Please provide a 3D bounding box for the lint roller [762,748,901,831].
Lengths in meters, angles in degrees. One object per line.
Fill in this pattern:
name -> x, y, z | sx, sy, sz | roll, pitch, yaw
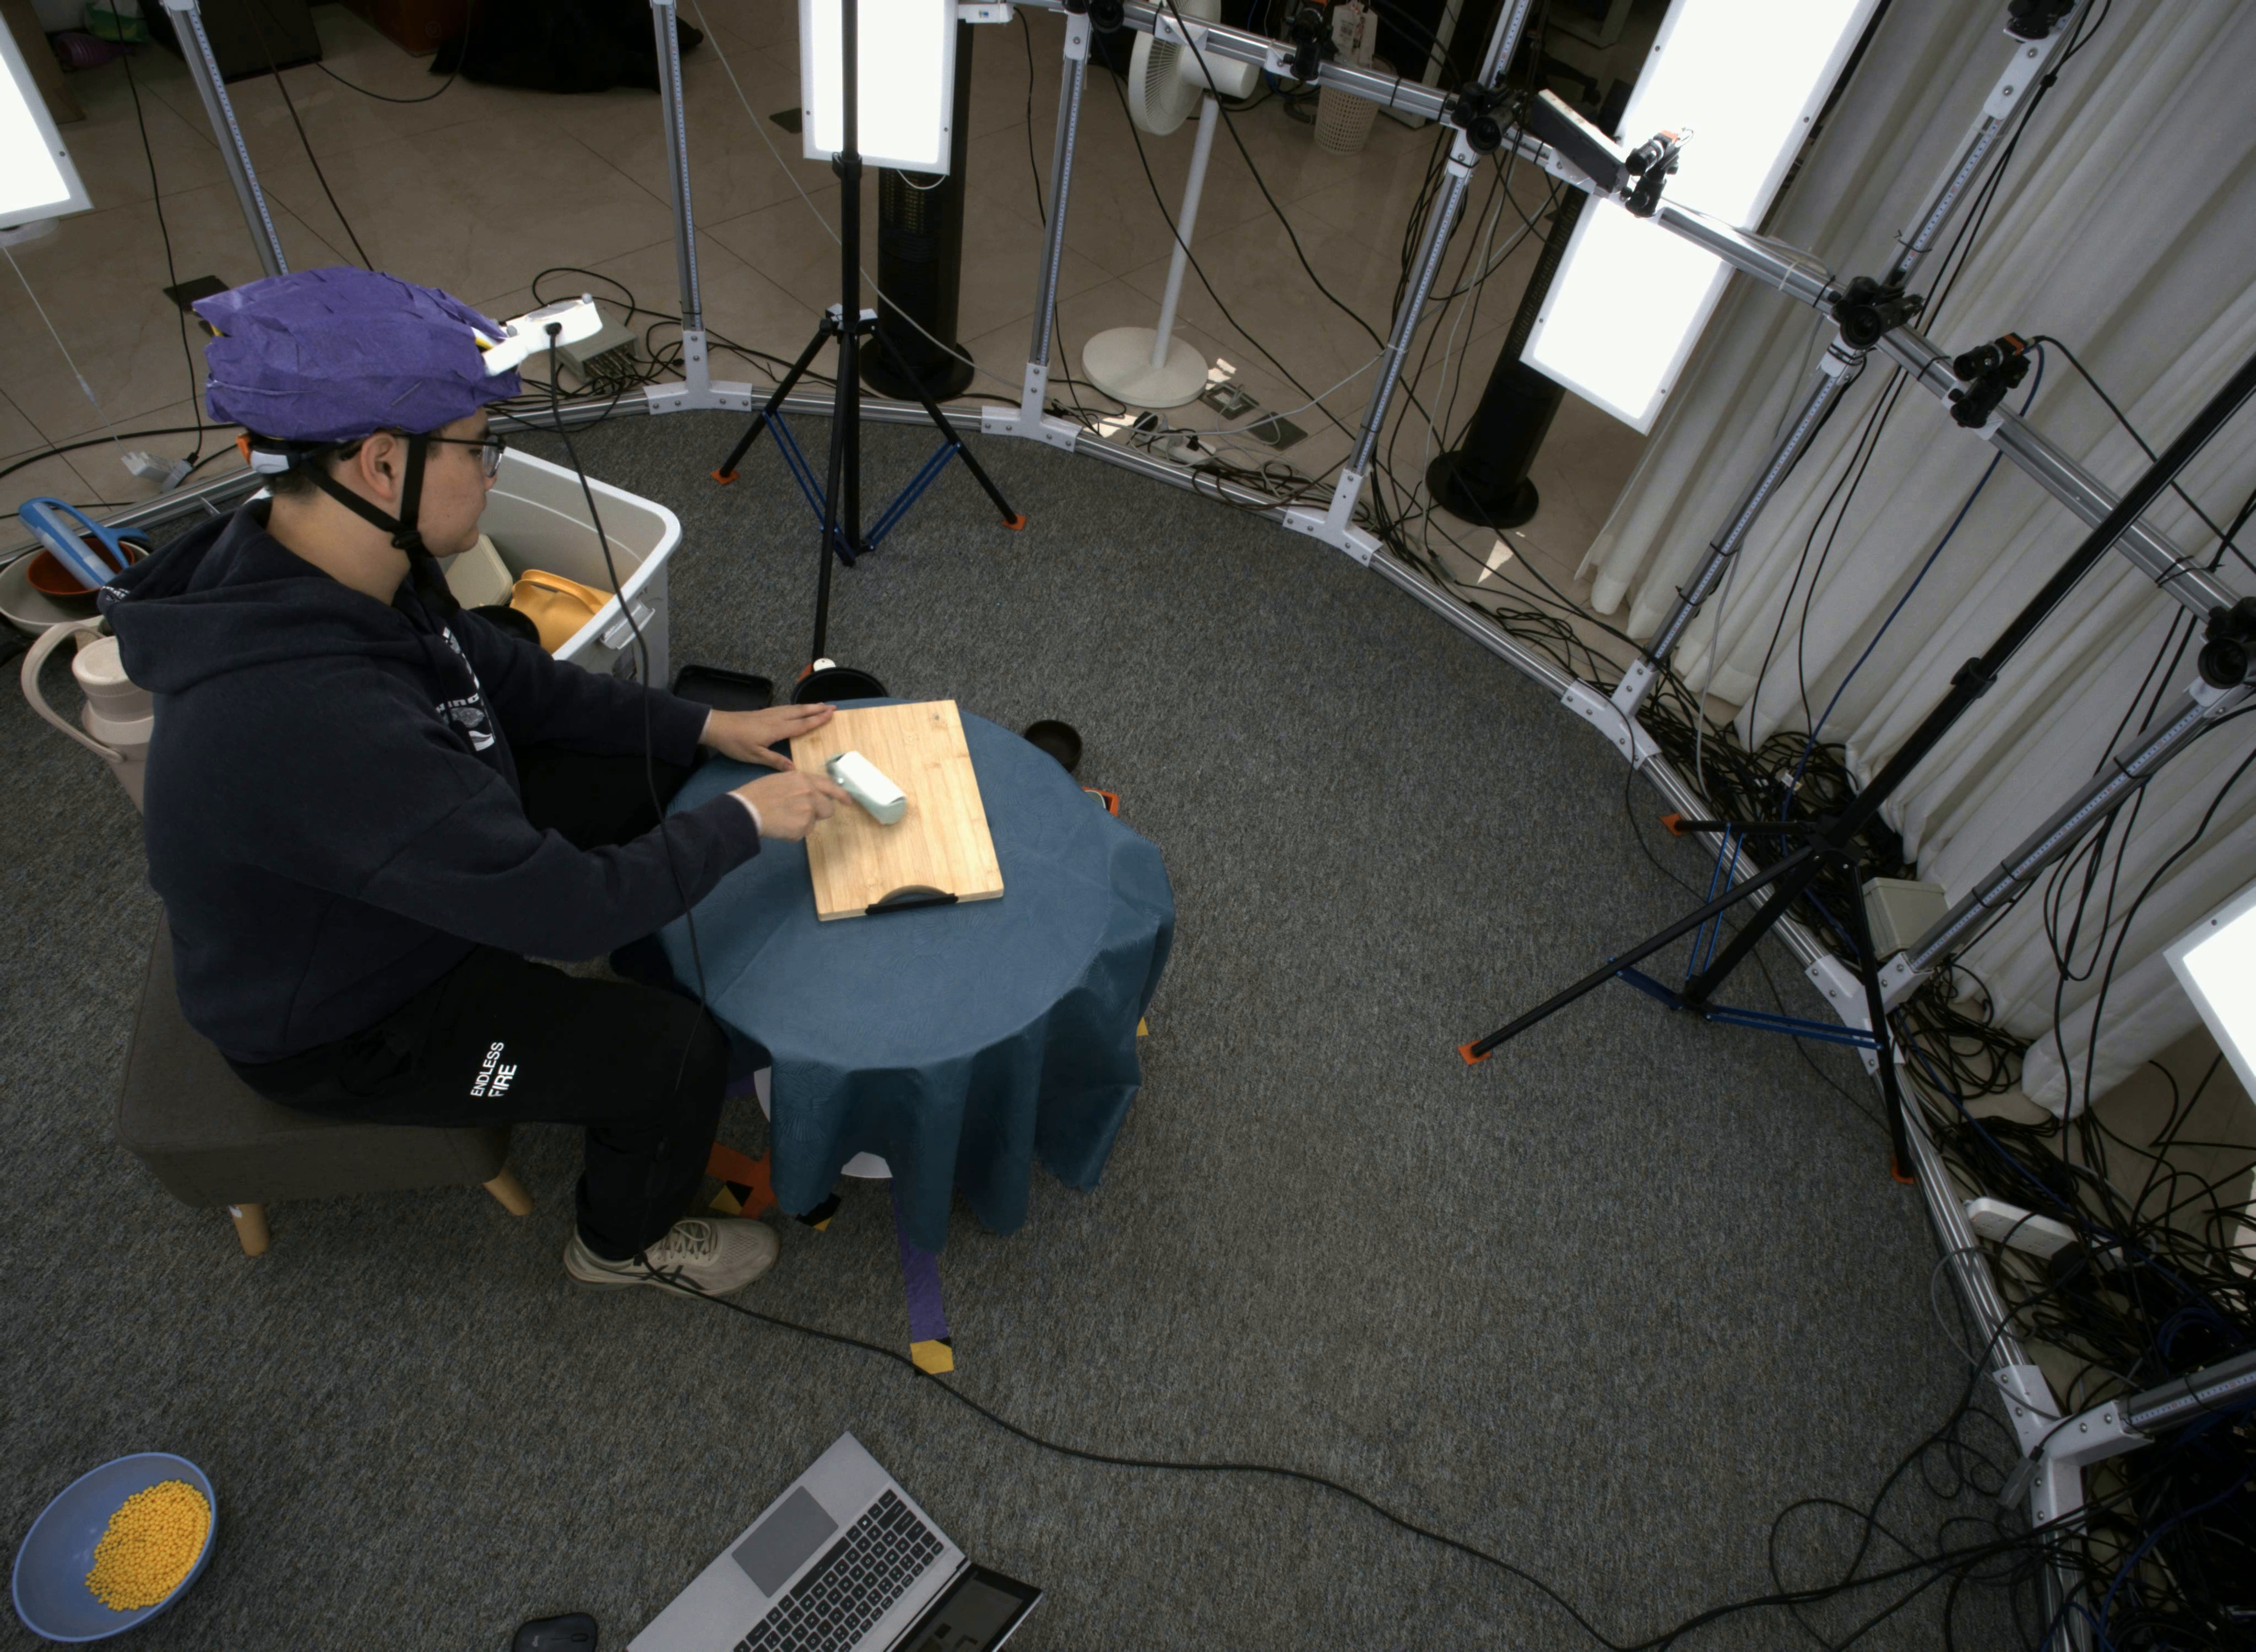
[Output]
lint roller -> -0.392, -0.040, 1.666 | 0.114, 0.049, 0.199 | 43, 30, 16

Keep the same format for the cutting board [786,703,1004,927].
cutting board -> -0.320, -0.027, 1.756 | 0.251, 0.024, 0.340 | -8, 56, -19
